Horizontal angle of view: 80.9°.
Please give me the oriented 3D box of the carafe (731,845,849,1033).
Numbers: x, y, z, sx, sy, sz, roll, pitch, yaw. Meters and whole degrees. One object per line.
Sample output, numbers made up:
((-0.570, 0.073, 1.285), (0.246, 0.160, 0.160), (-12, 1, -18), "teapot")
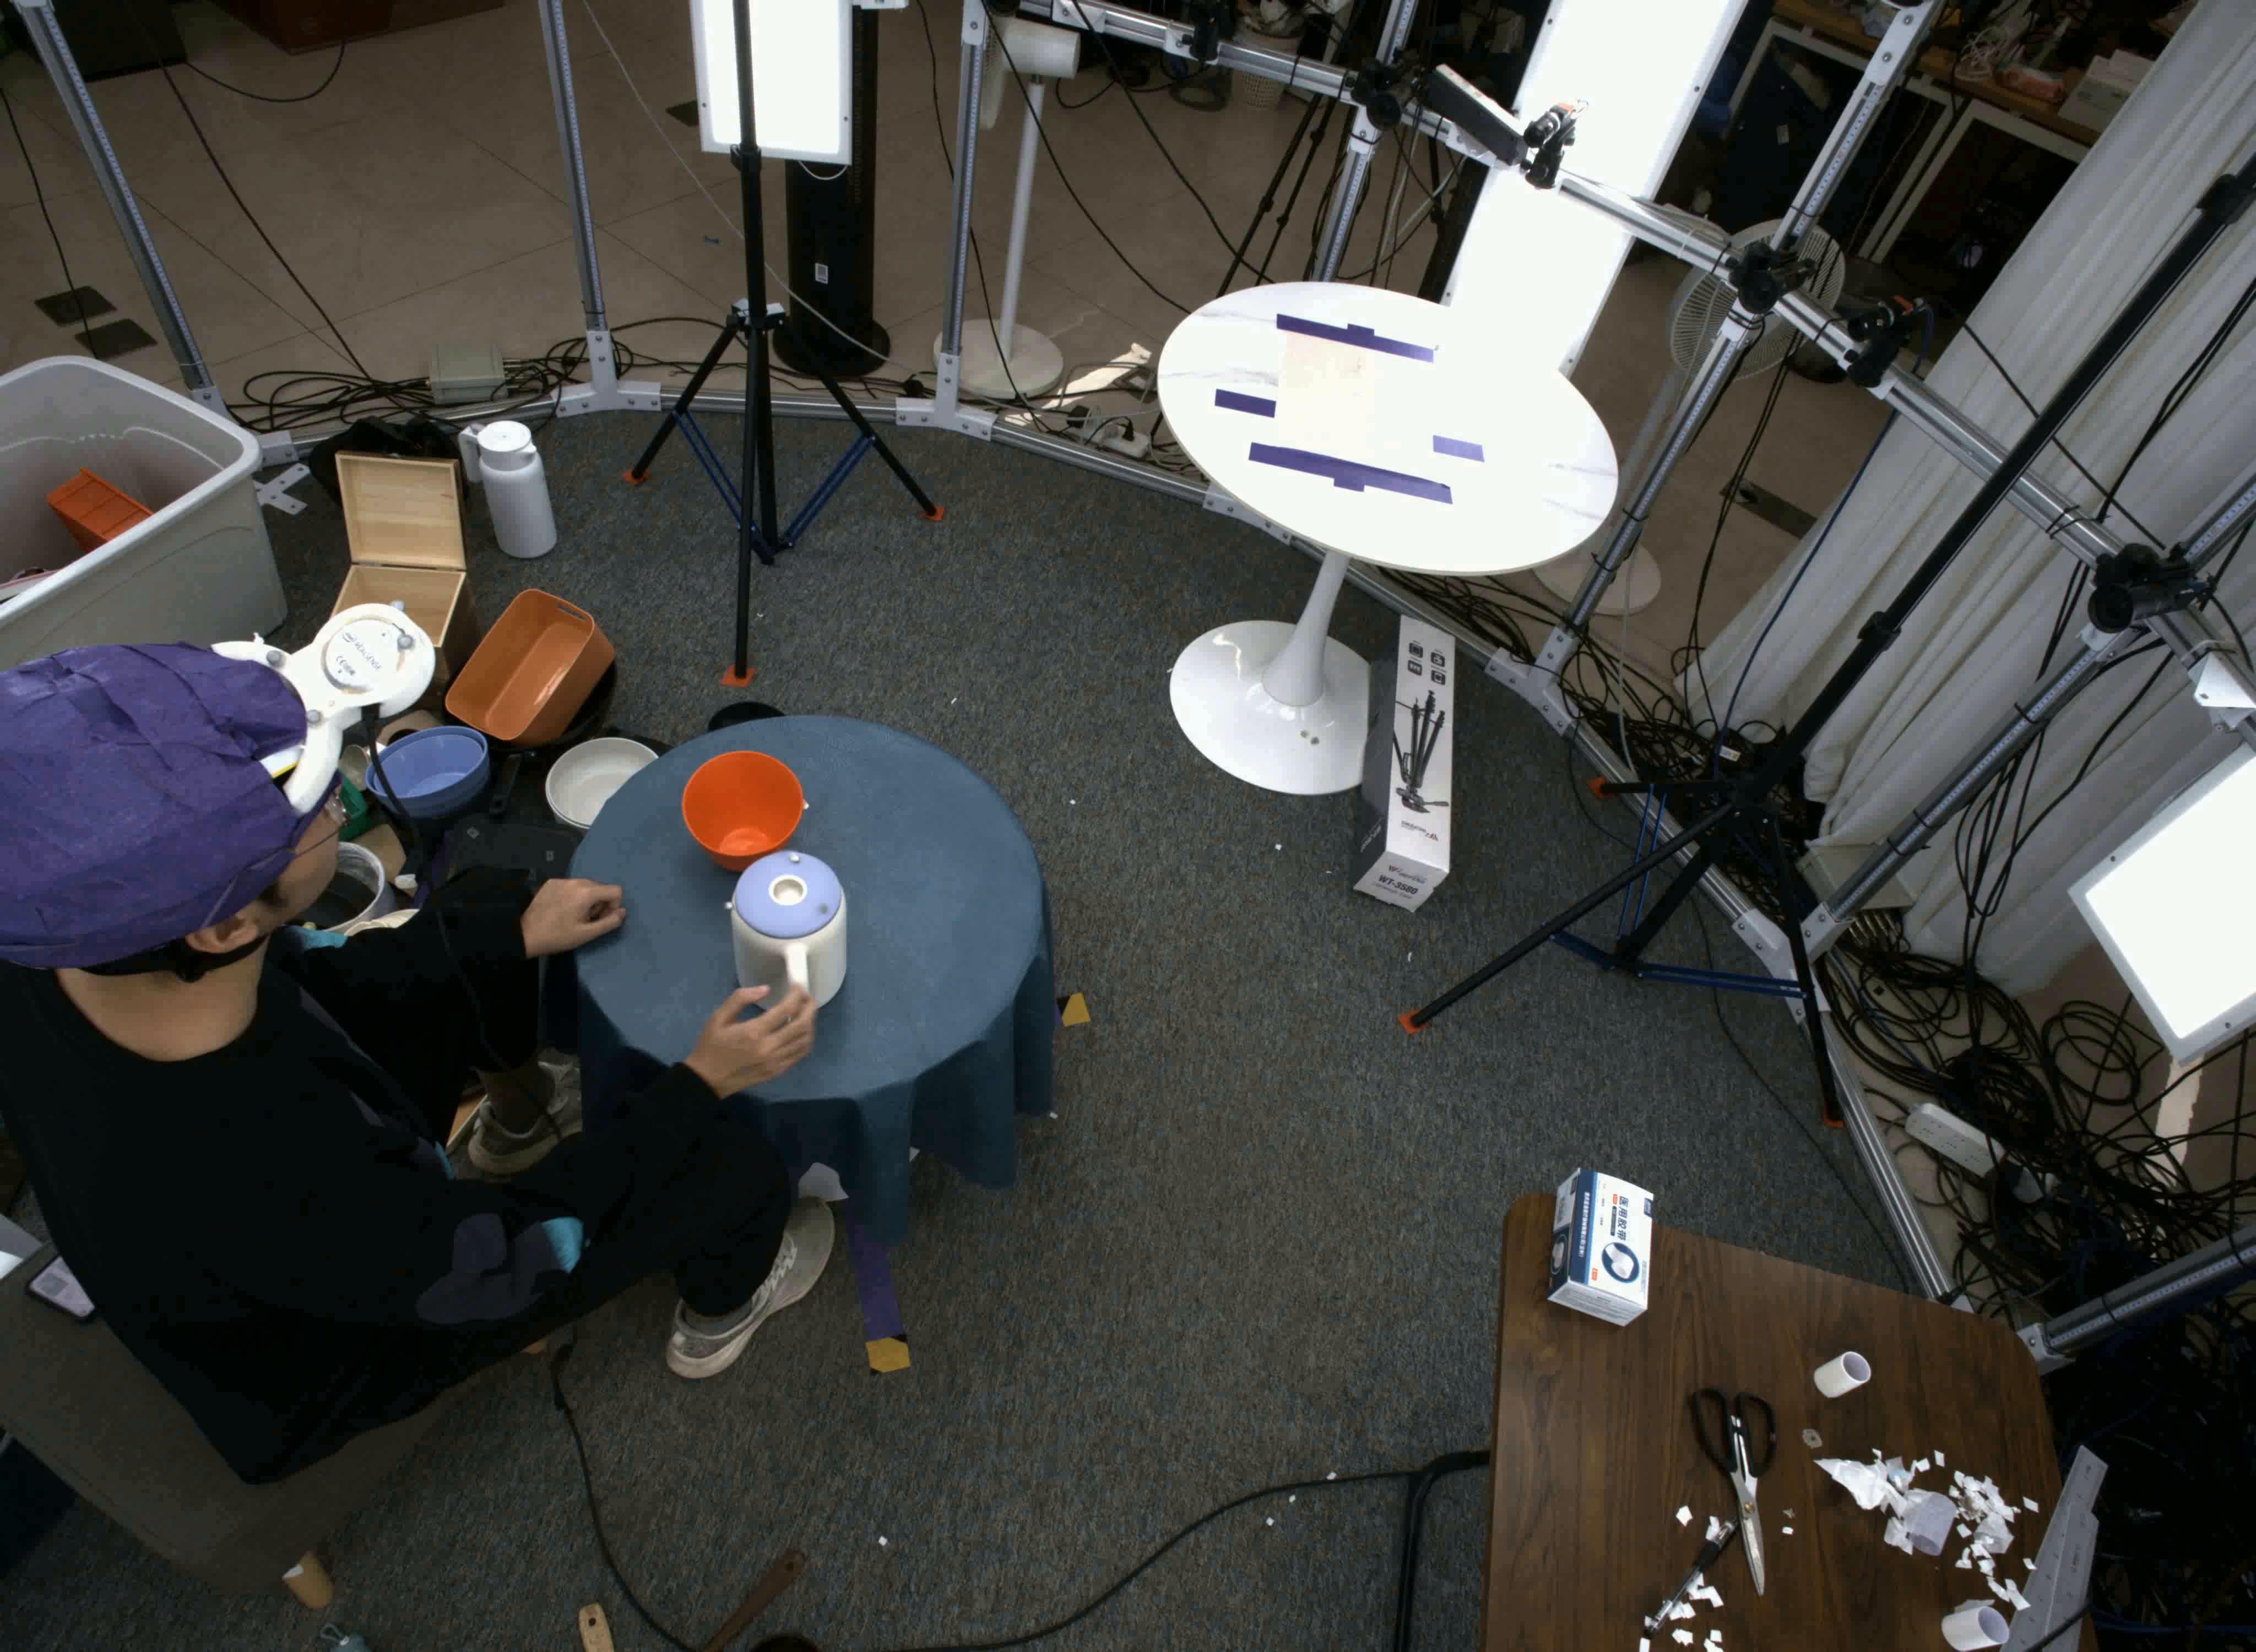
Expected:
((-0.392, 0.144, 1.522), (0.132, 0.186, 0.187), (-9, 58, -18), "carafe")

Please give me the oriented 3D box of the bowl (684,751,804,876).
((-0.488, -0.006, 1.652), (0.148, 0.107, 0.145), (7, 52, -8), "bowl")
